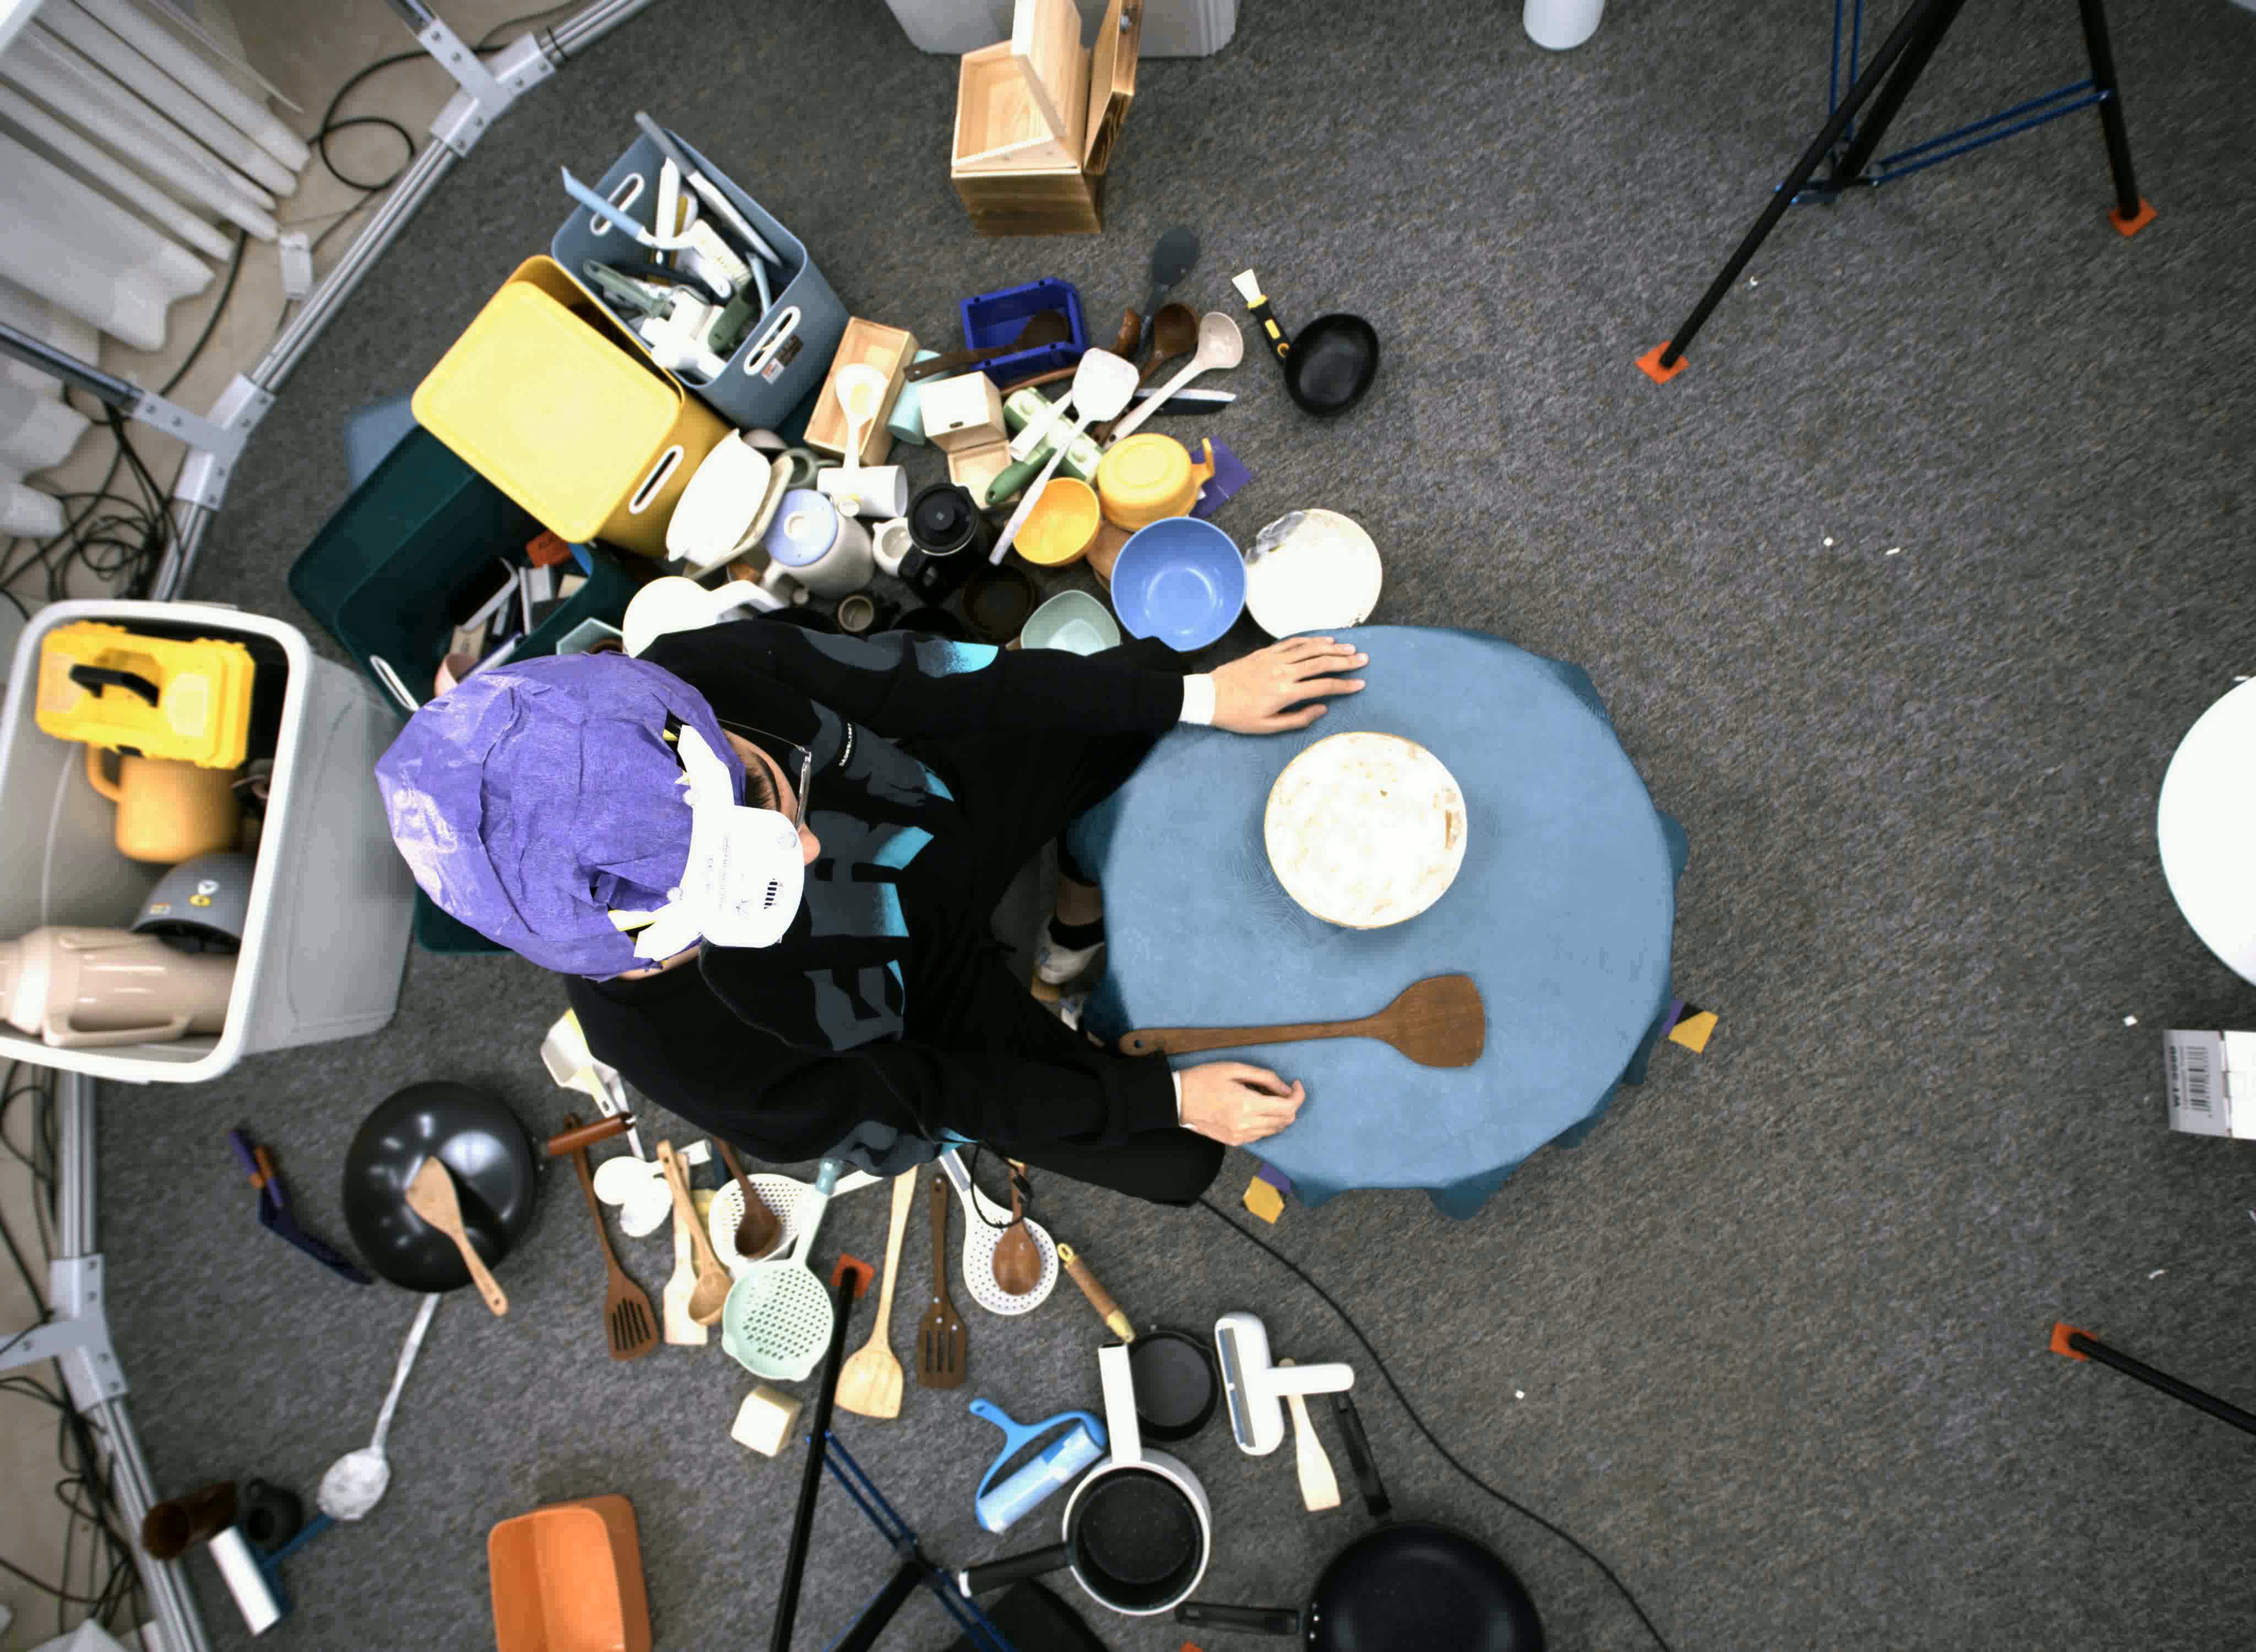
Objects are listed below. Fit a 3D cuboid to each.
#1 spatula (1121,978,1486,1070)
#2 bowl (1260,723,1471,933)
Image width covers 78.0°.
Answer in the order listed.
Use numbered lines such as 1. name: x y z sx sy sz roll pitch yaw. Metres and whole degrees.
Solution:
1. spatula: 0.181 0.220 1.464 0.388 0.016 0.095 -6 85 10
2. bowl: 0.245 0.006 1.427 0.215 0.094 0.214 -1 87 11
